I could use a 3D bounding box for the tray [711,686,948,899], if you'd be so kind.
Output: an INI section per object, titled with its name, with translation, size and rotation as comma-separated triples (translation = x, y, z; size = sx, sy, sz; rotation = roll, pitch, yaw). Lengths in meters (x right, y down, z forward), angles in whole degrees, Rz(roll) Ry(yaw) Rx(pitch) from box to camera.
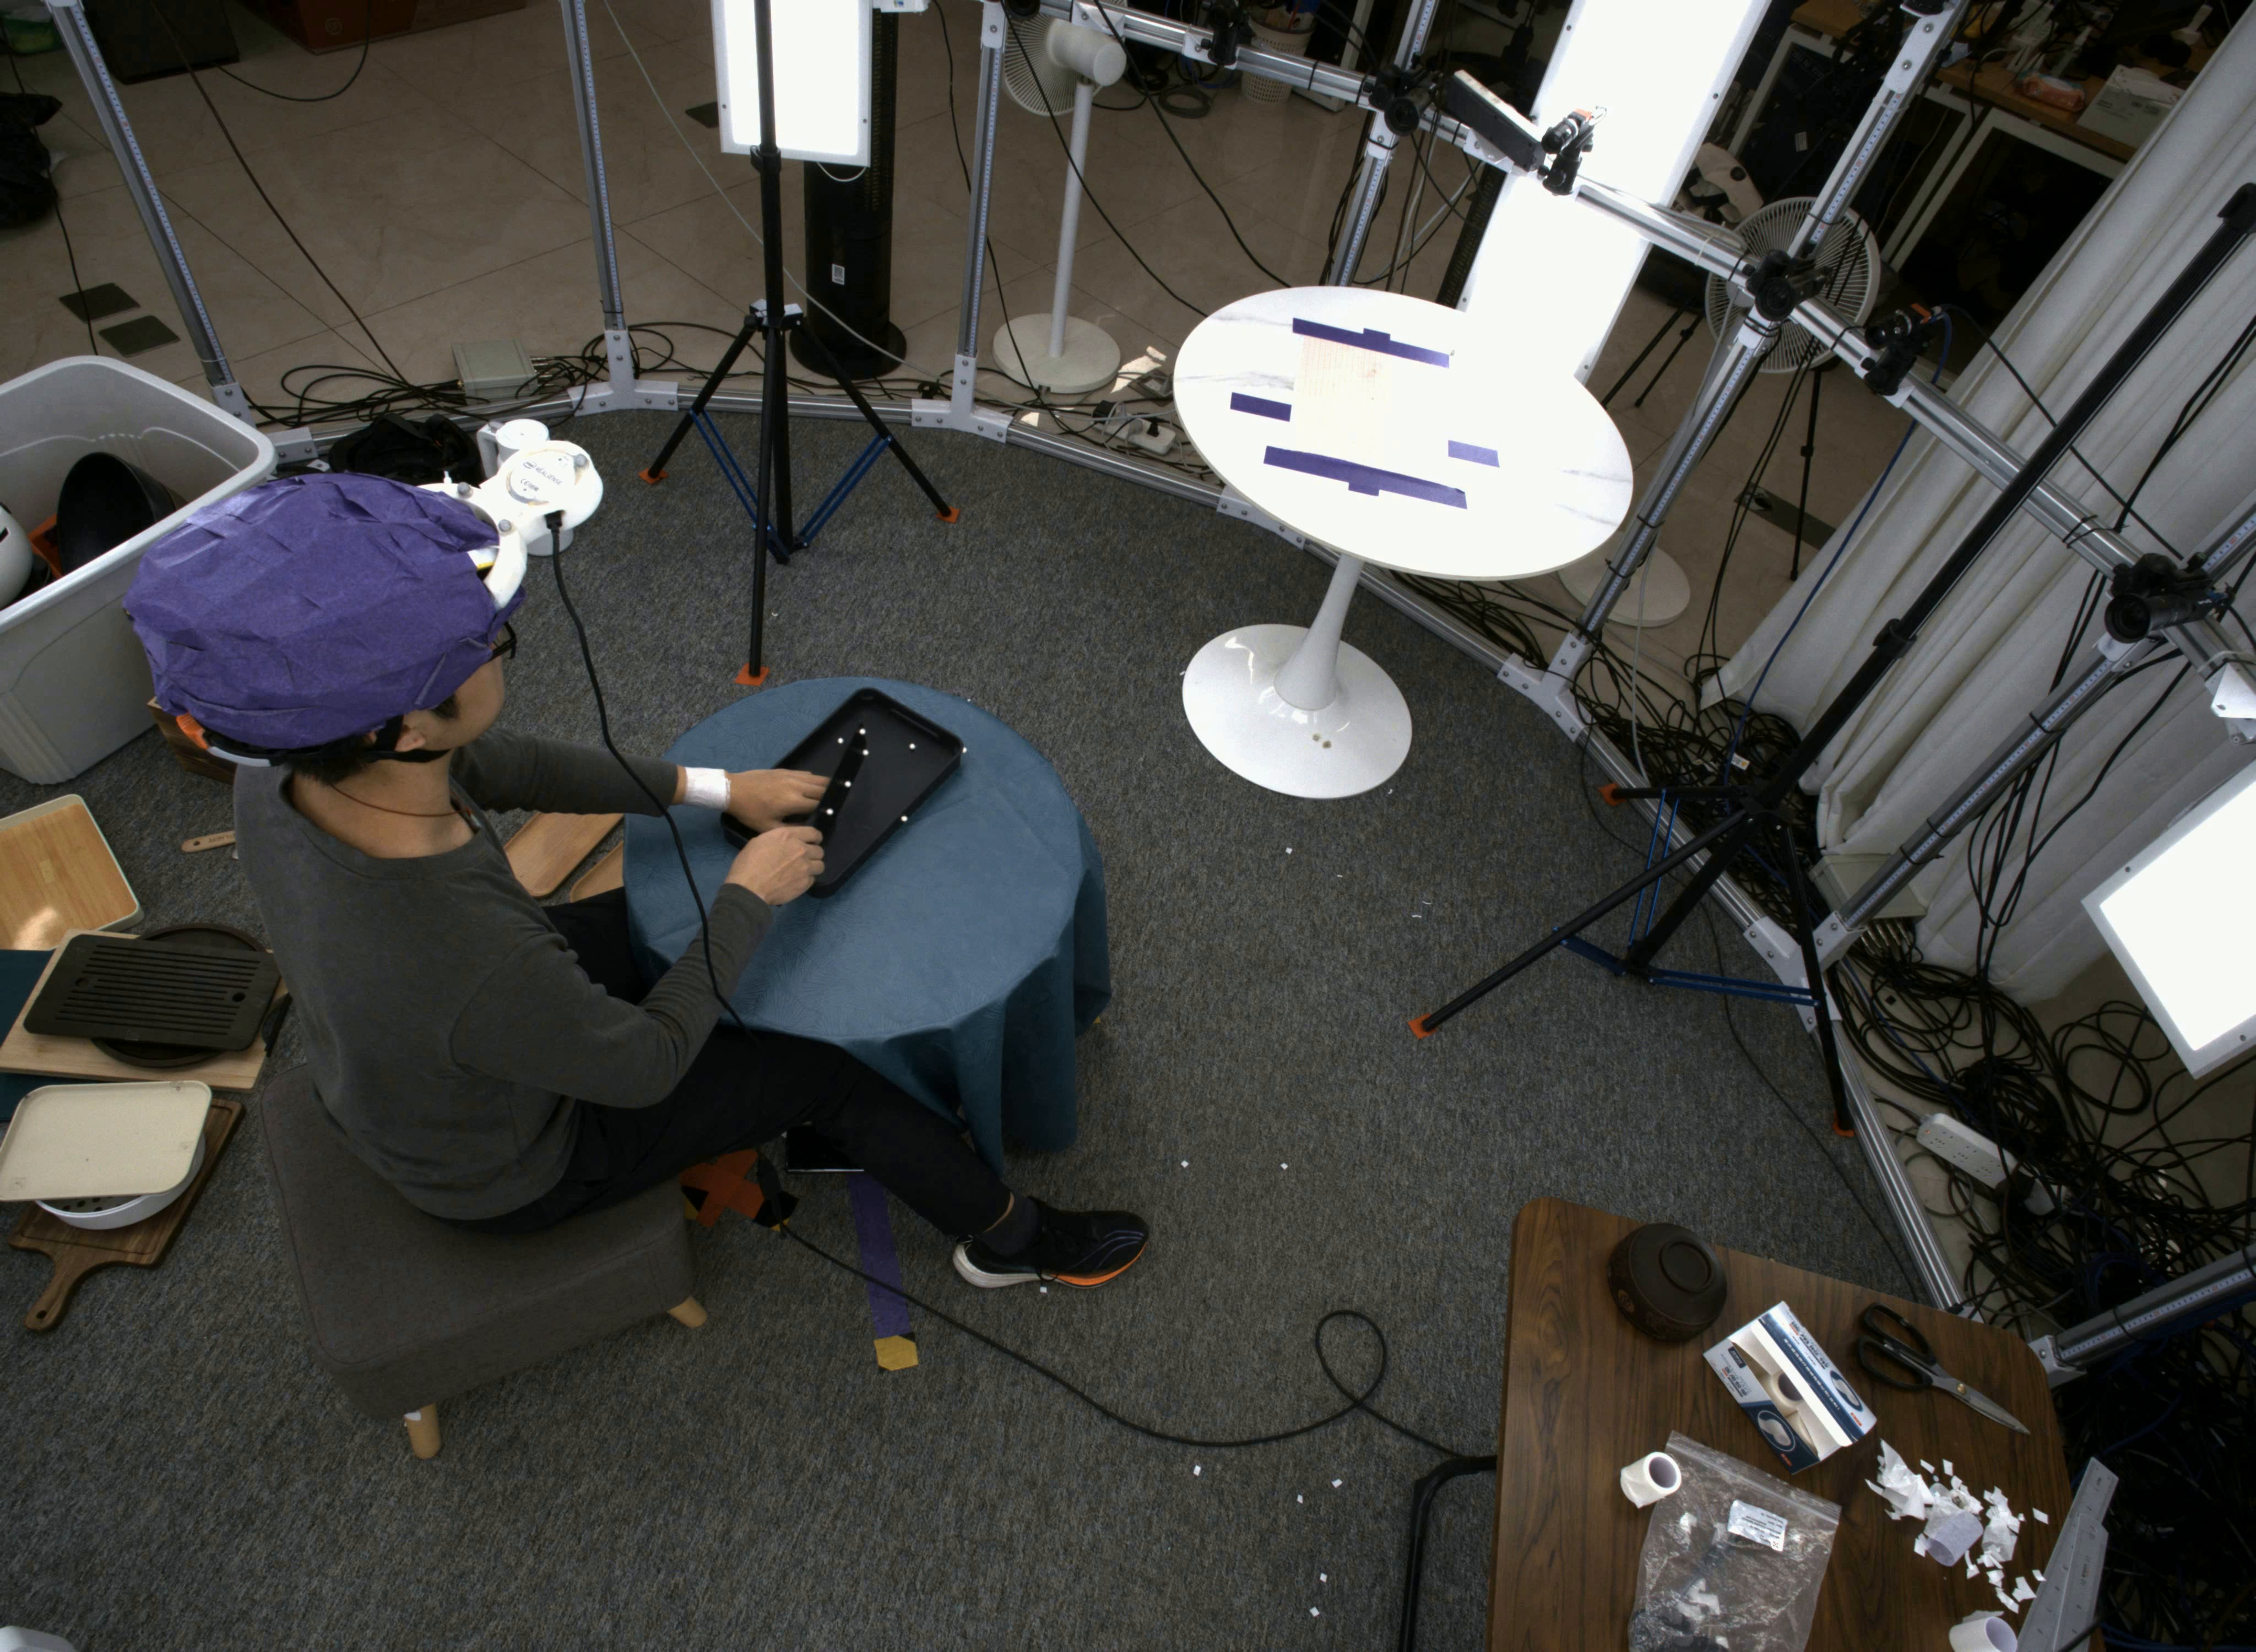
[tray]
translation = -0.398, -0.053, 1.758
size = 0.181, 0.038, 0.316
rotation = 29, 52, 8

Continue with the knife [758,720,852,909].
[knife]
translation = -0.412, -0.014, 1.674
size = 0.020, 0.083, 0.298
rotation = 10, 47, 7
